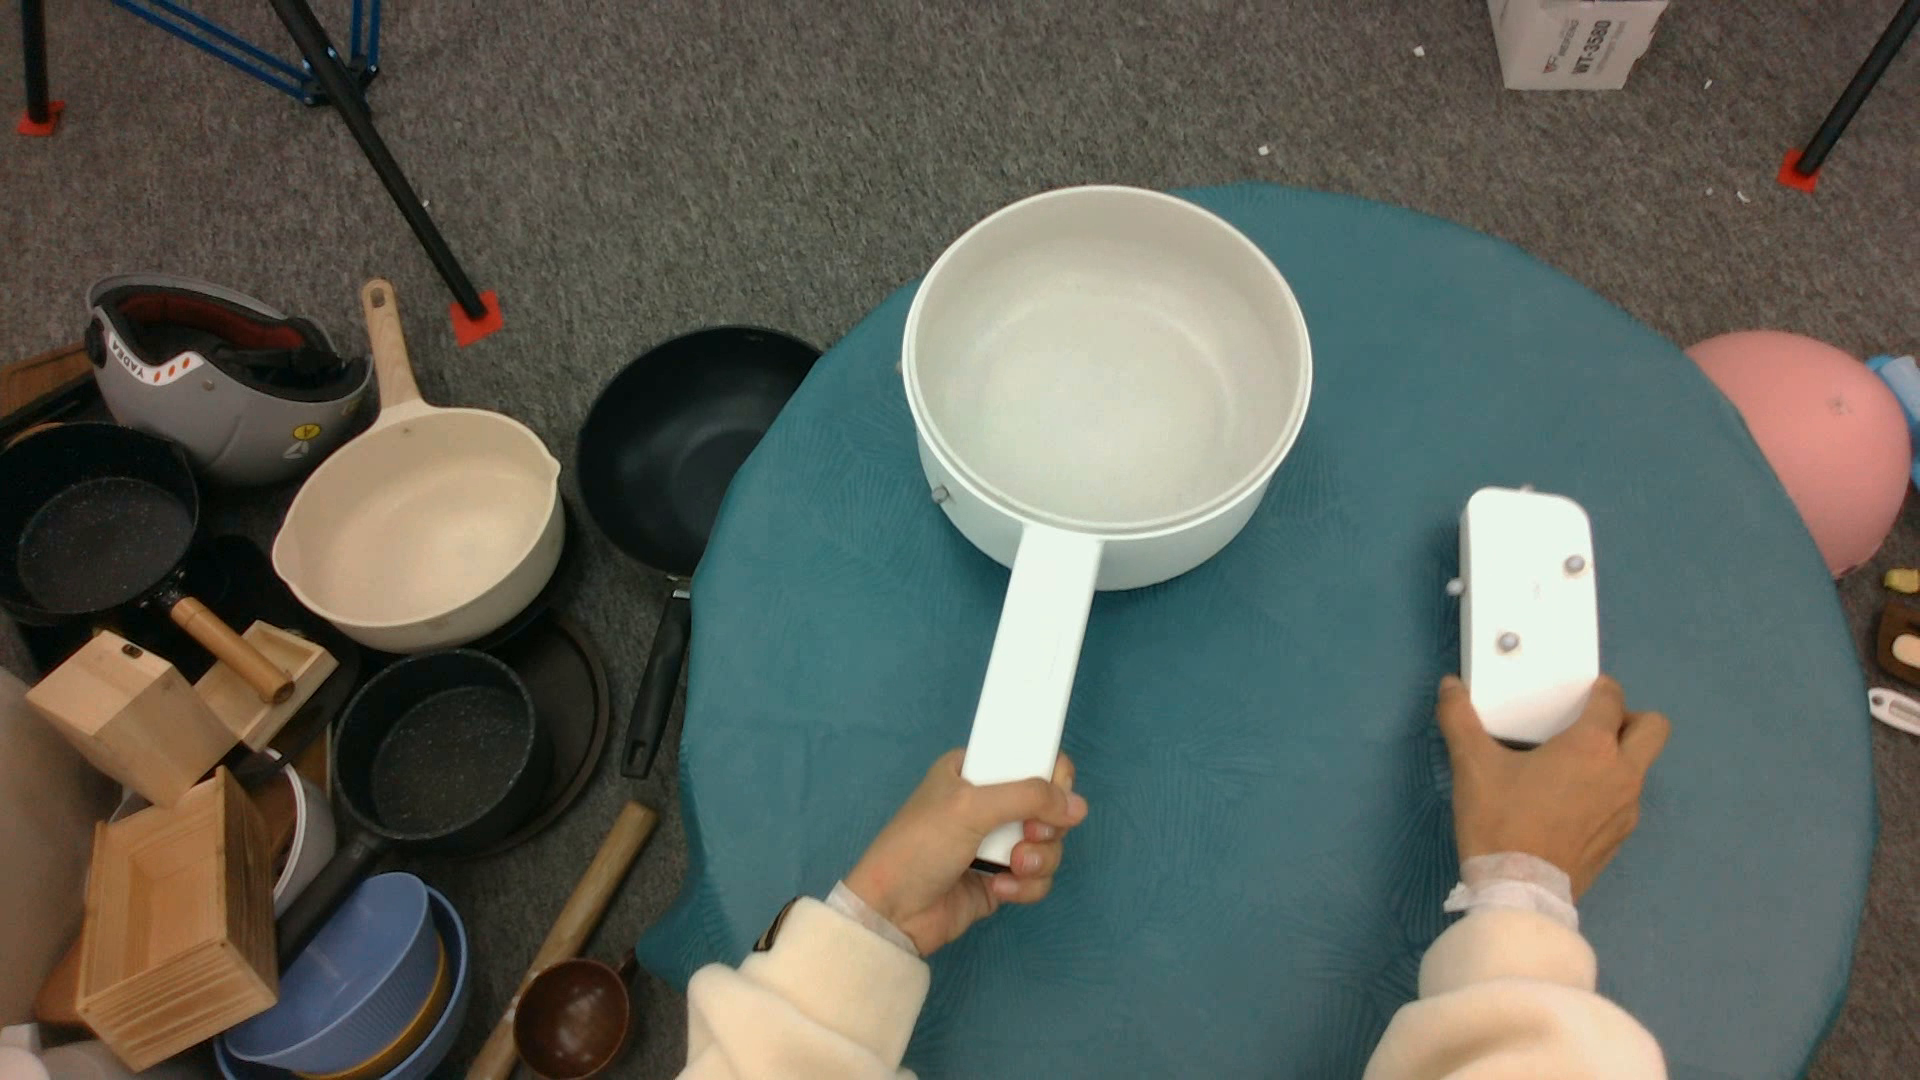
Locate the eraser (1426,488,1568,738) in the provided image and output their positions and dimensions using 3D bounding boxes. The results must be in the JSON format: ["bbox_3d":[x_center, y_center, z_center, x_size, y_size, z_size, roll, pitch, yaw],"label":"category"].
[{"bbox_3d":[0.268,0.035,0.697,0.063,0.034,0.132,5,64,4],"label":"eraser"}]

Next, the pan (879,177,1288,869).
[{"bbox_3d":[0.044,-0.010,0.688,0.201,0.102,0.356,12,68,7],"label":"pan"}]
